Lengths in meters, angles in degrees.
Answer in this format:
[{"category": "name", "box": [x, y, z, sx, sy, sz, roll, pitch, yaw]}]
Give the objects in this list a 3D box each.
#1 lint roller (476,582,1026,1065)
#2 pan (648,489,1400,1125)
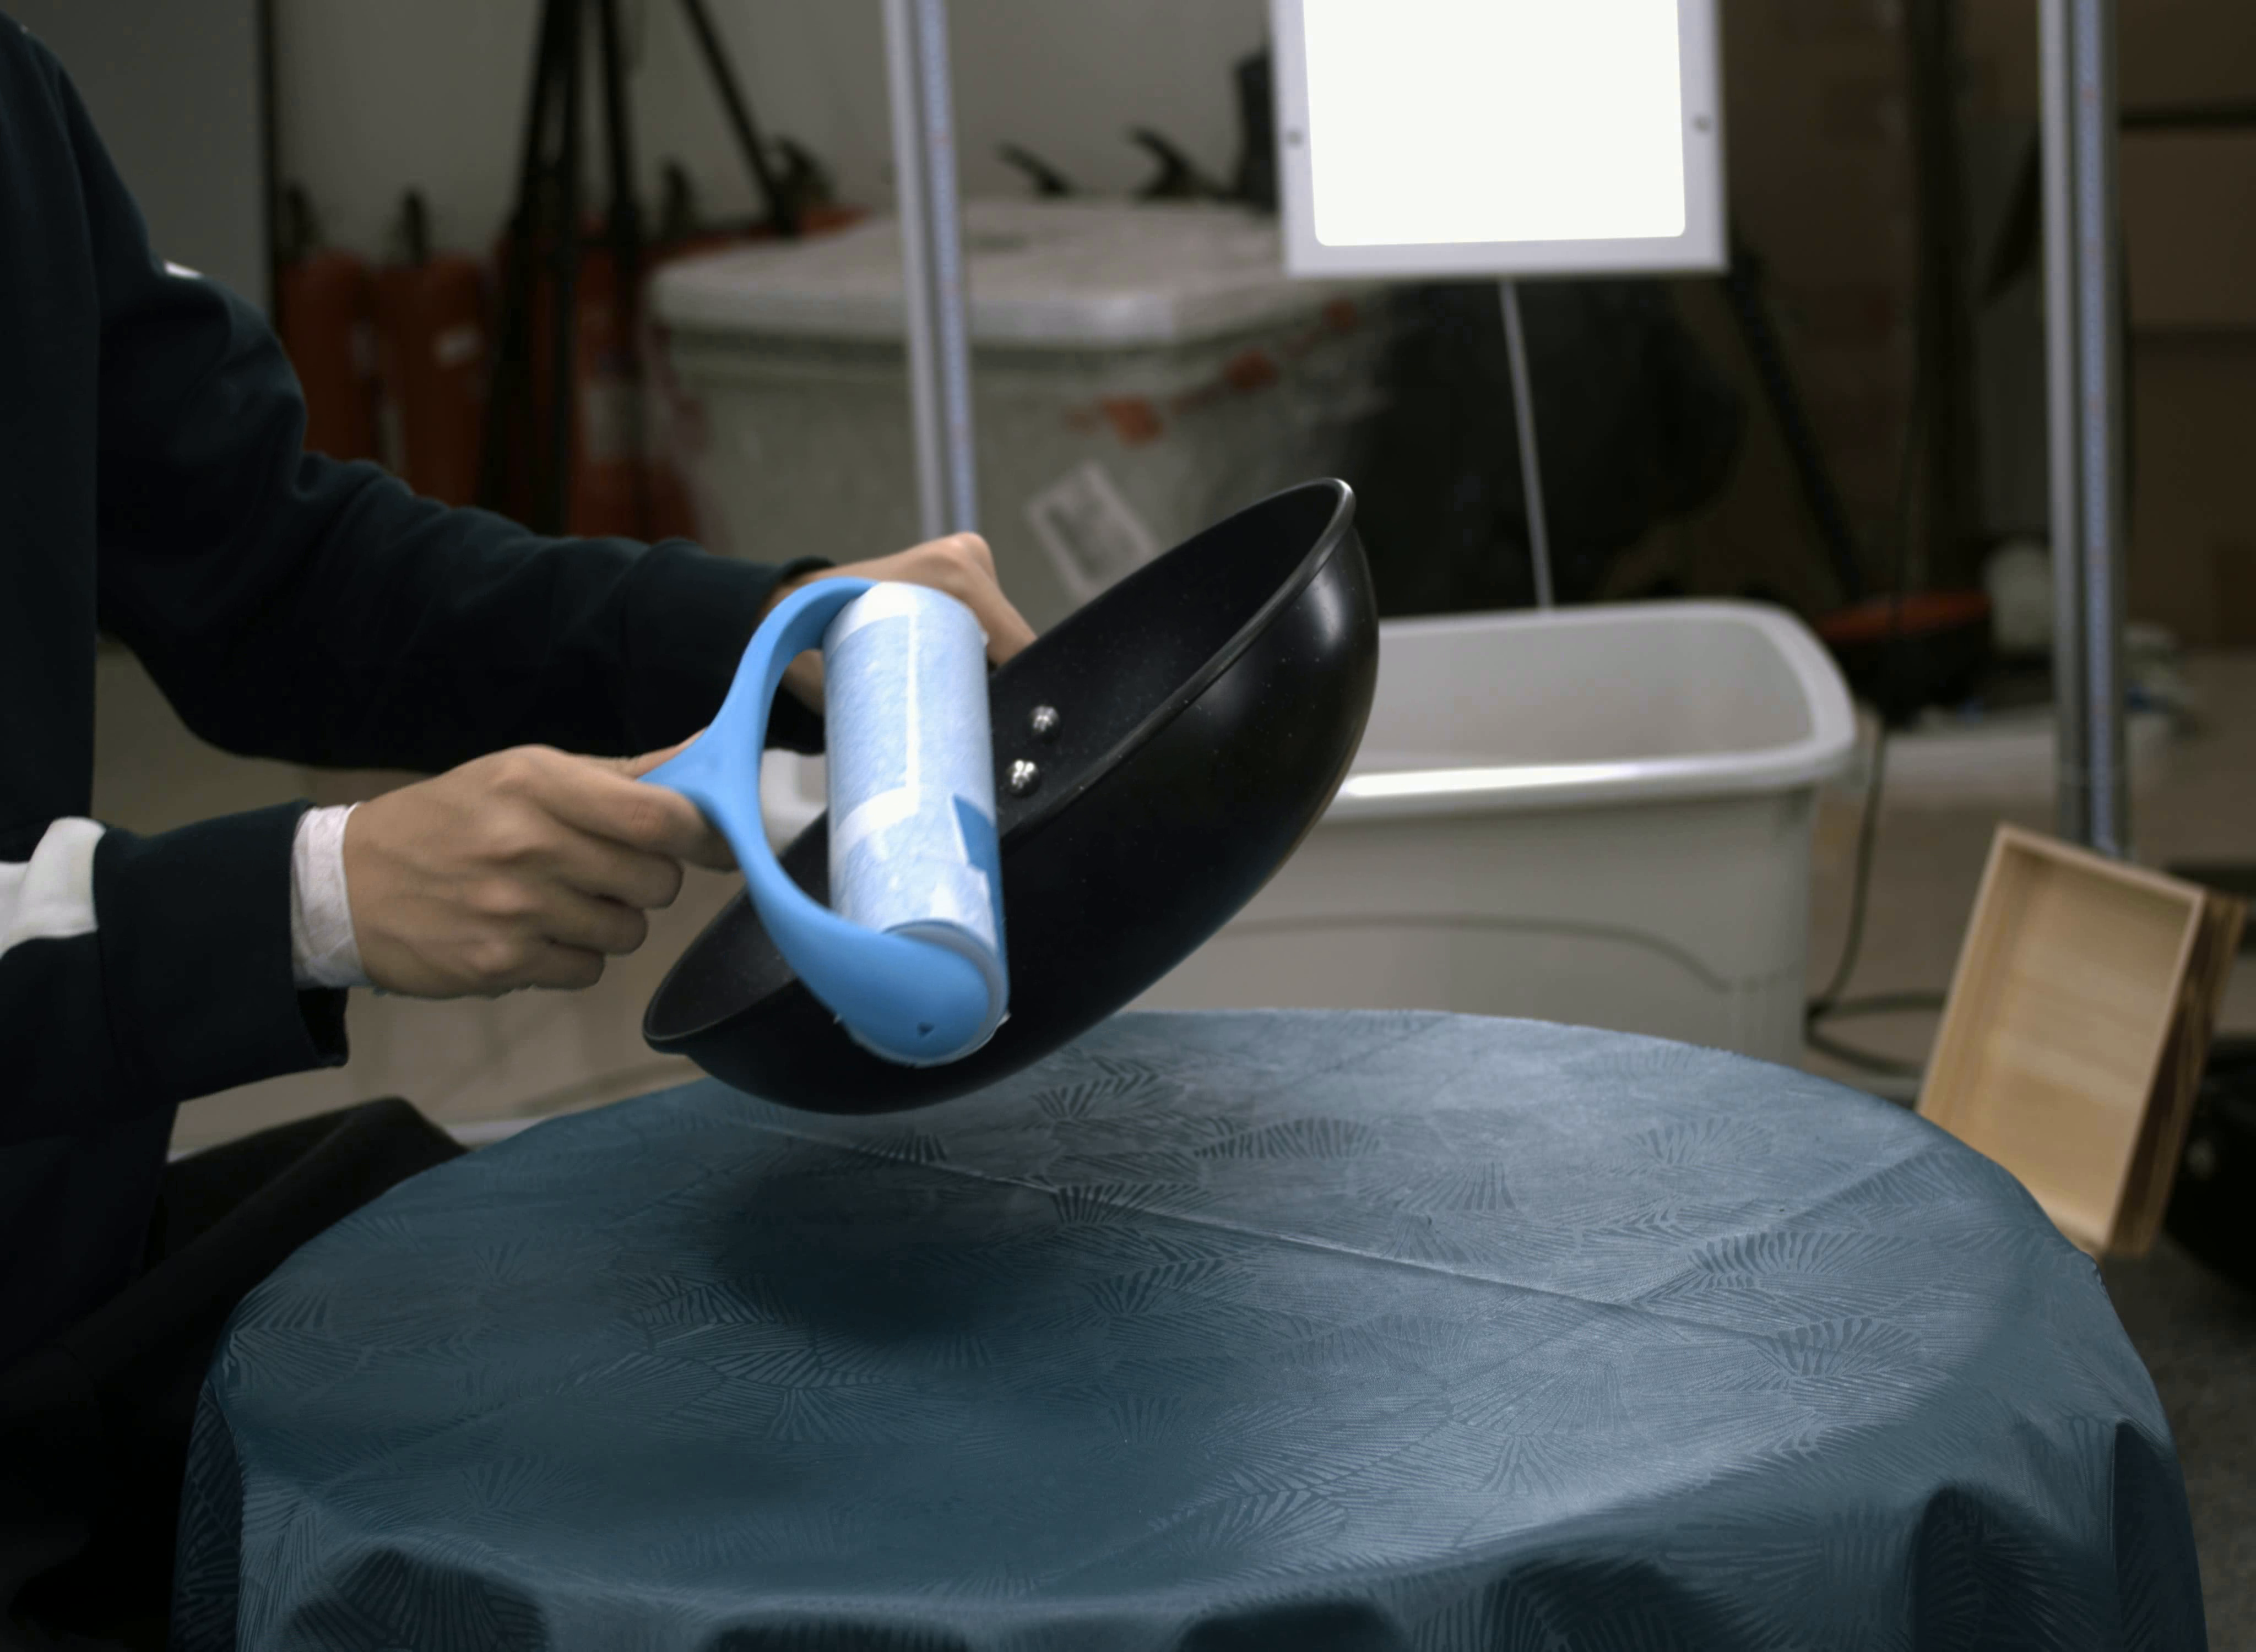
[{"category": "lint roller", "box": [-0.124, 0.009, 1.738, 0.180, 0.068, 0.229, -13, 36, 1]}, {"category": "pan", "box": [-0.034, -0.011, 1.974, 0.310, 0.111, 0.478, -37, 10, 1]}]
